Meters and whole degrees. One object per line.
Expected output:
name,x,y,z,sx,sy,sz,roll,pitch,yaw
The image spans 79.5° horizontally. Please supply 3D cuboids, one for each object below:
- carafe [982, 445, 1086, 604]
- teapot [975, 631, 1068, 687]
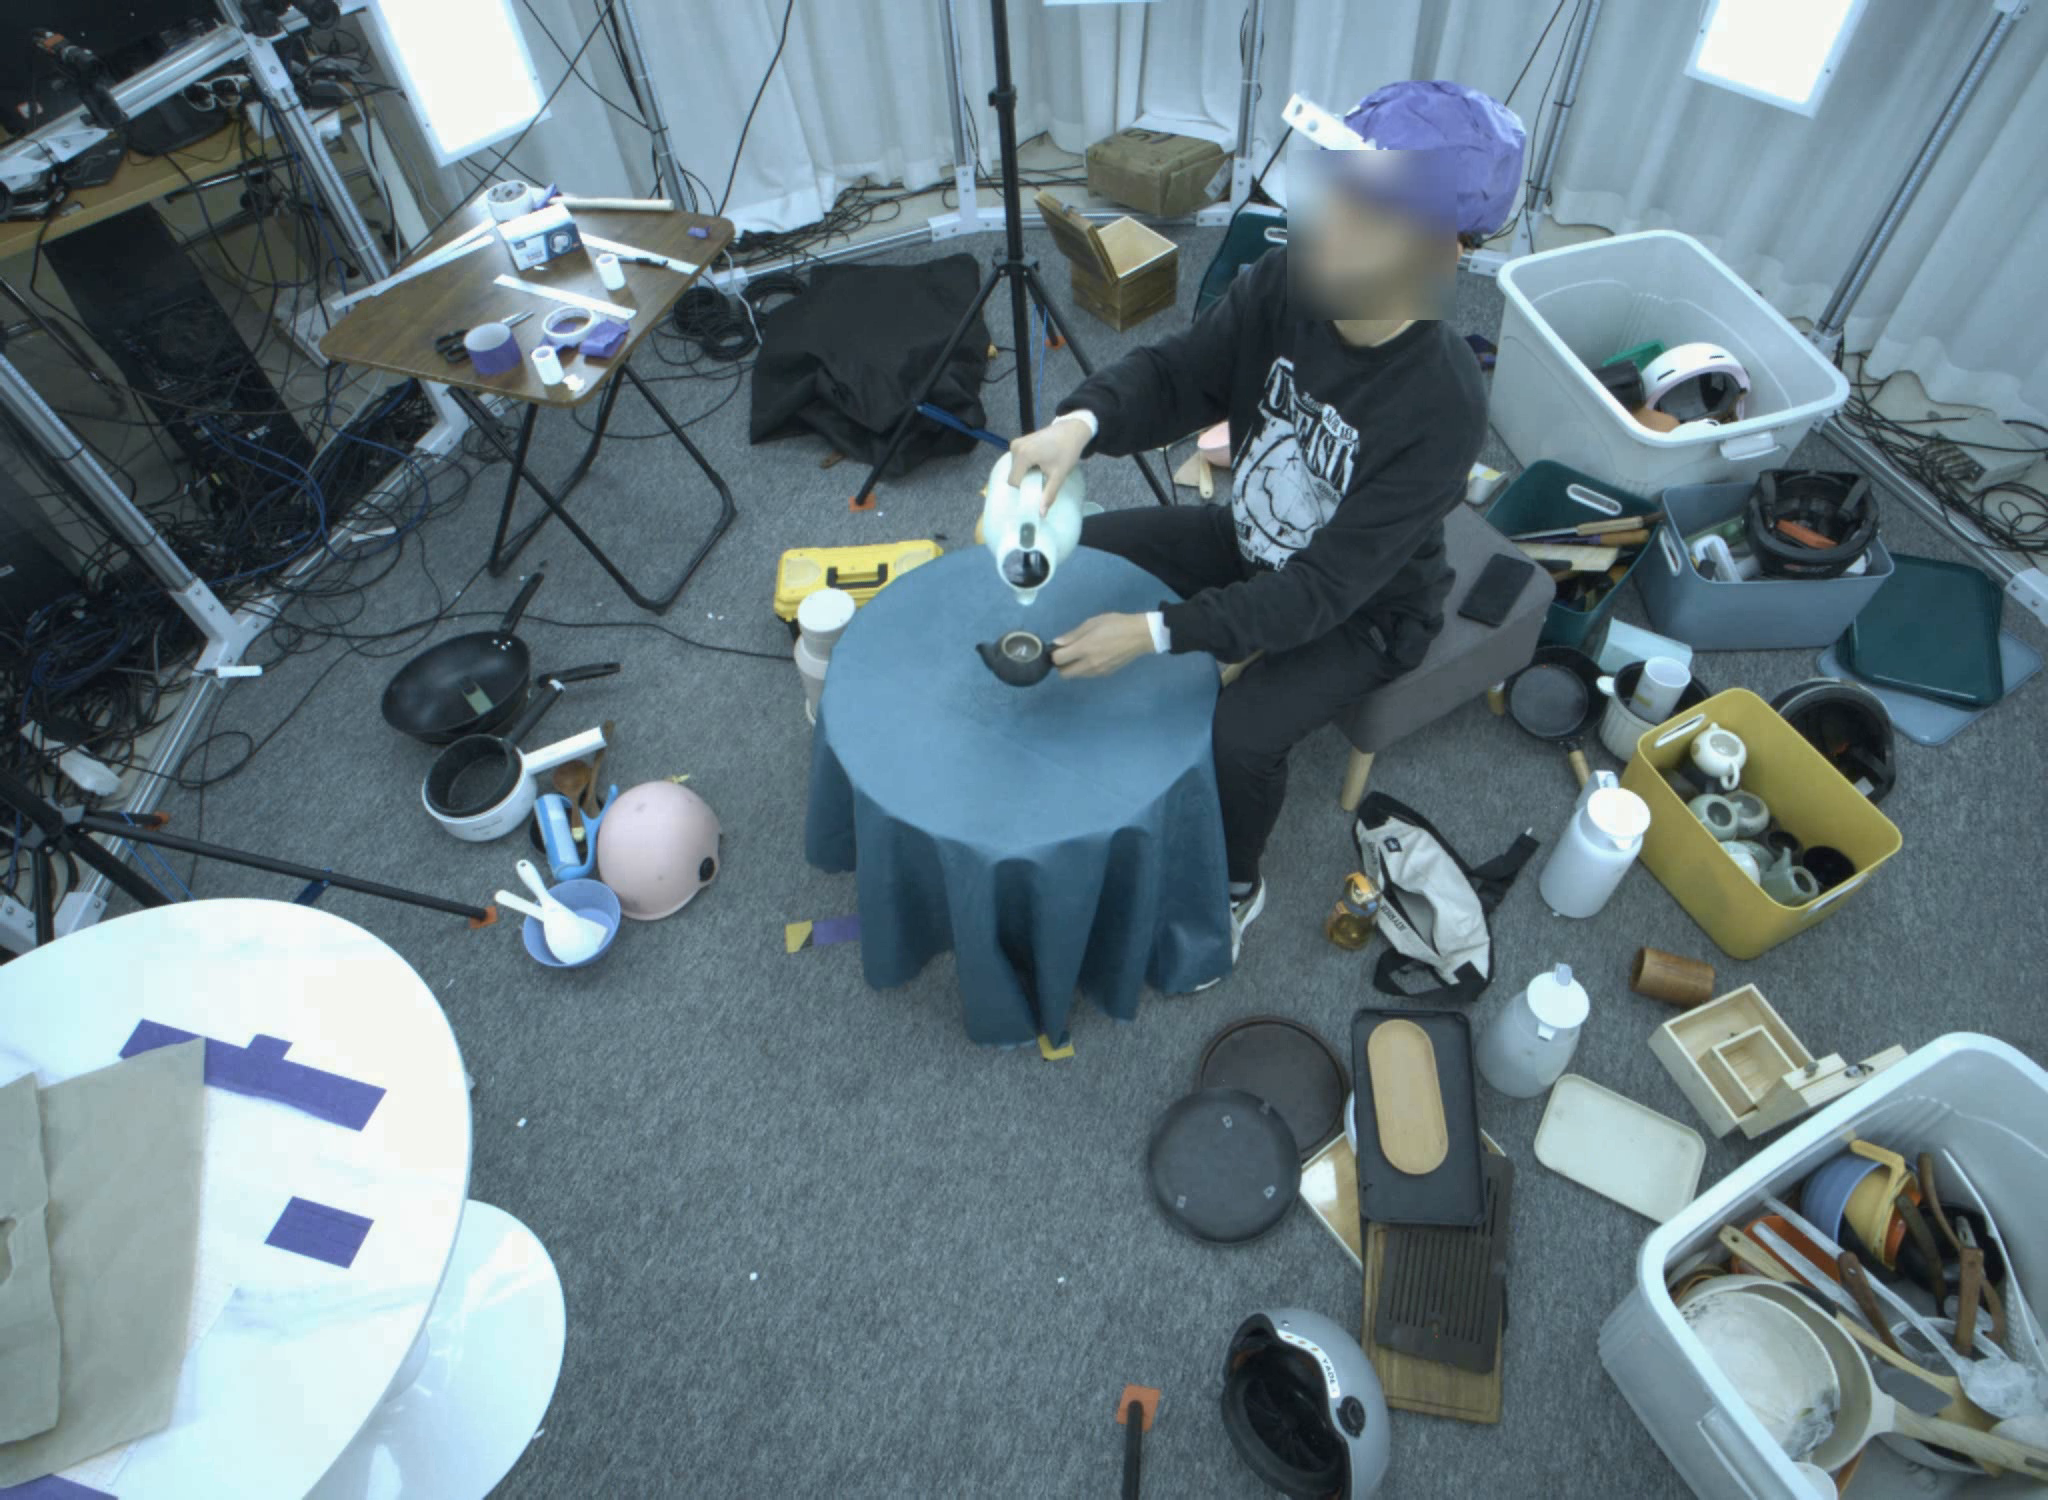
carafe,0.010,-0.332,1.719,0.144,0.188,0.254,4,35,2
teapot,-0.004,-0.131,1.752,0.134,0.053,0.090,-1,56,-6
